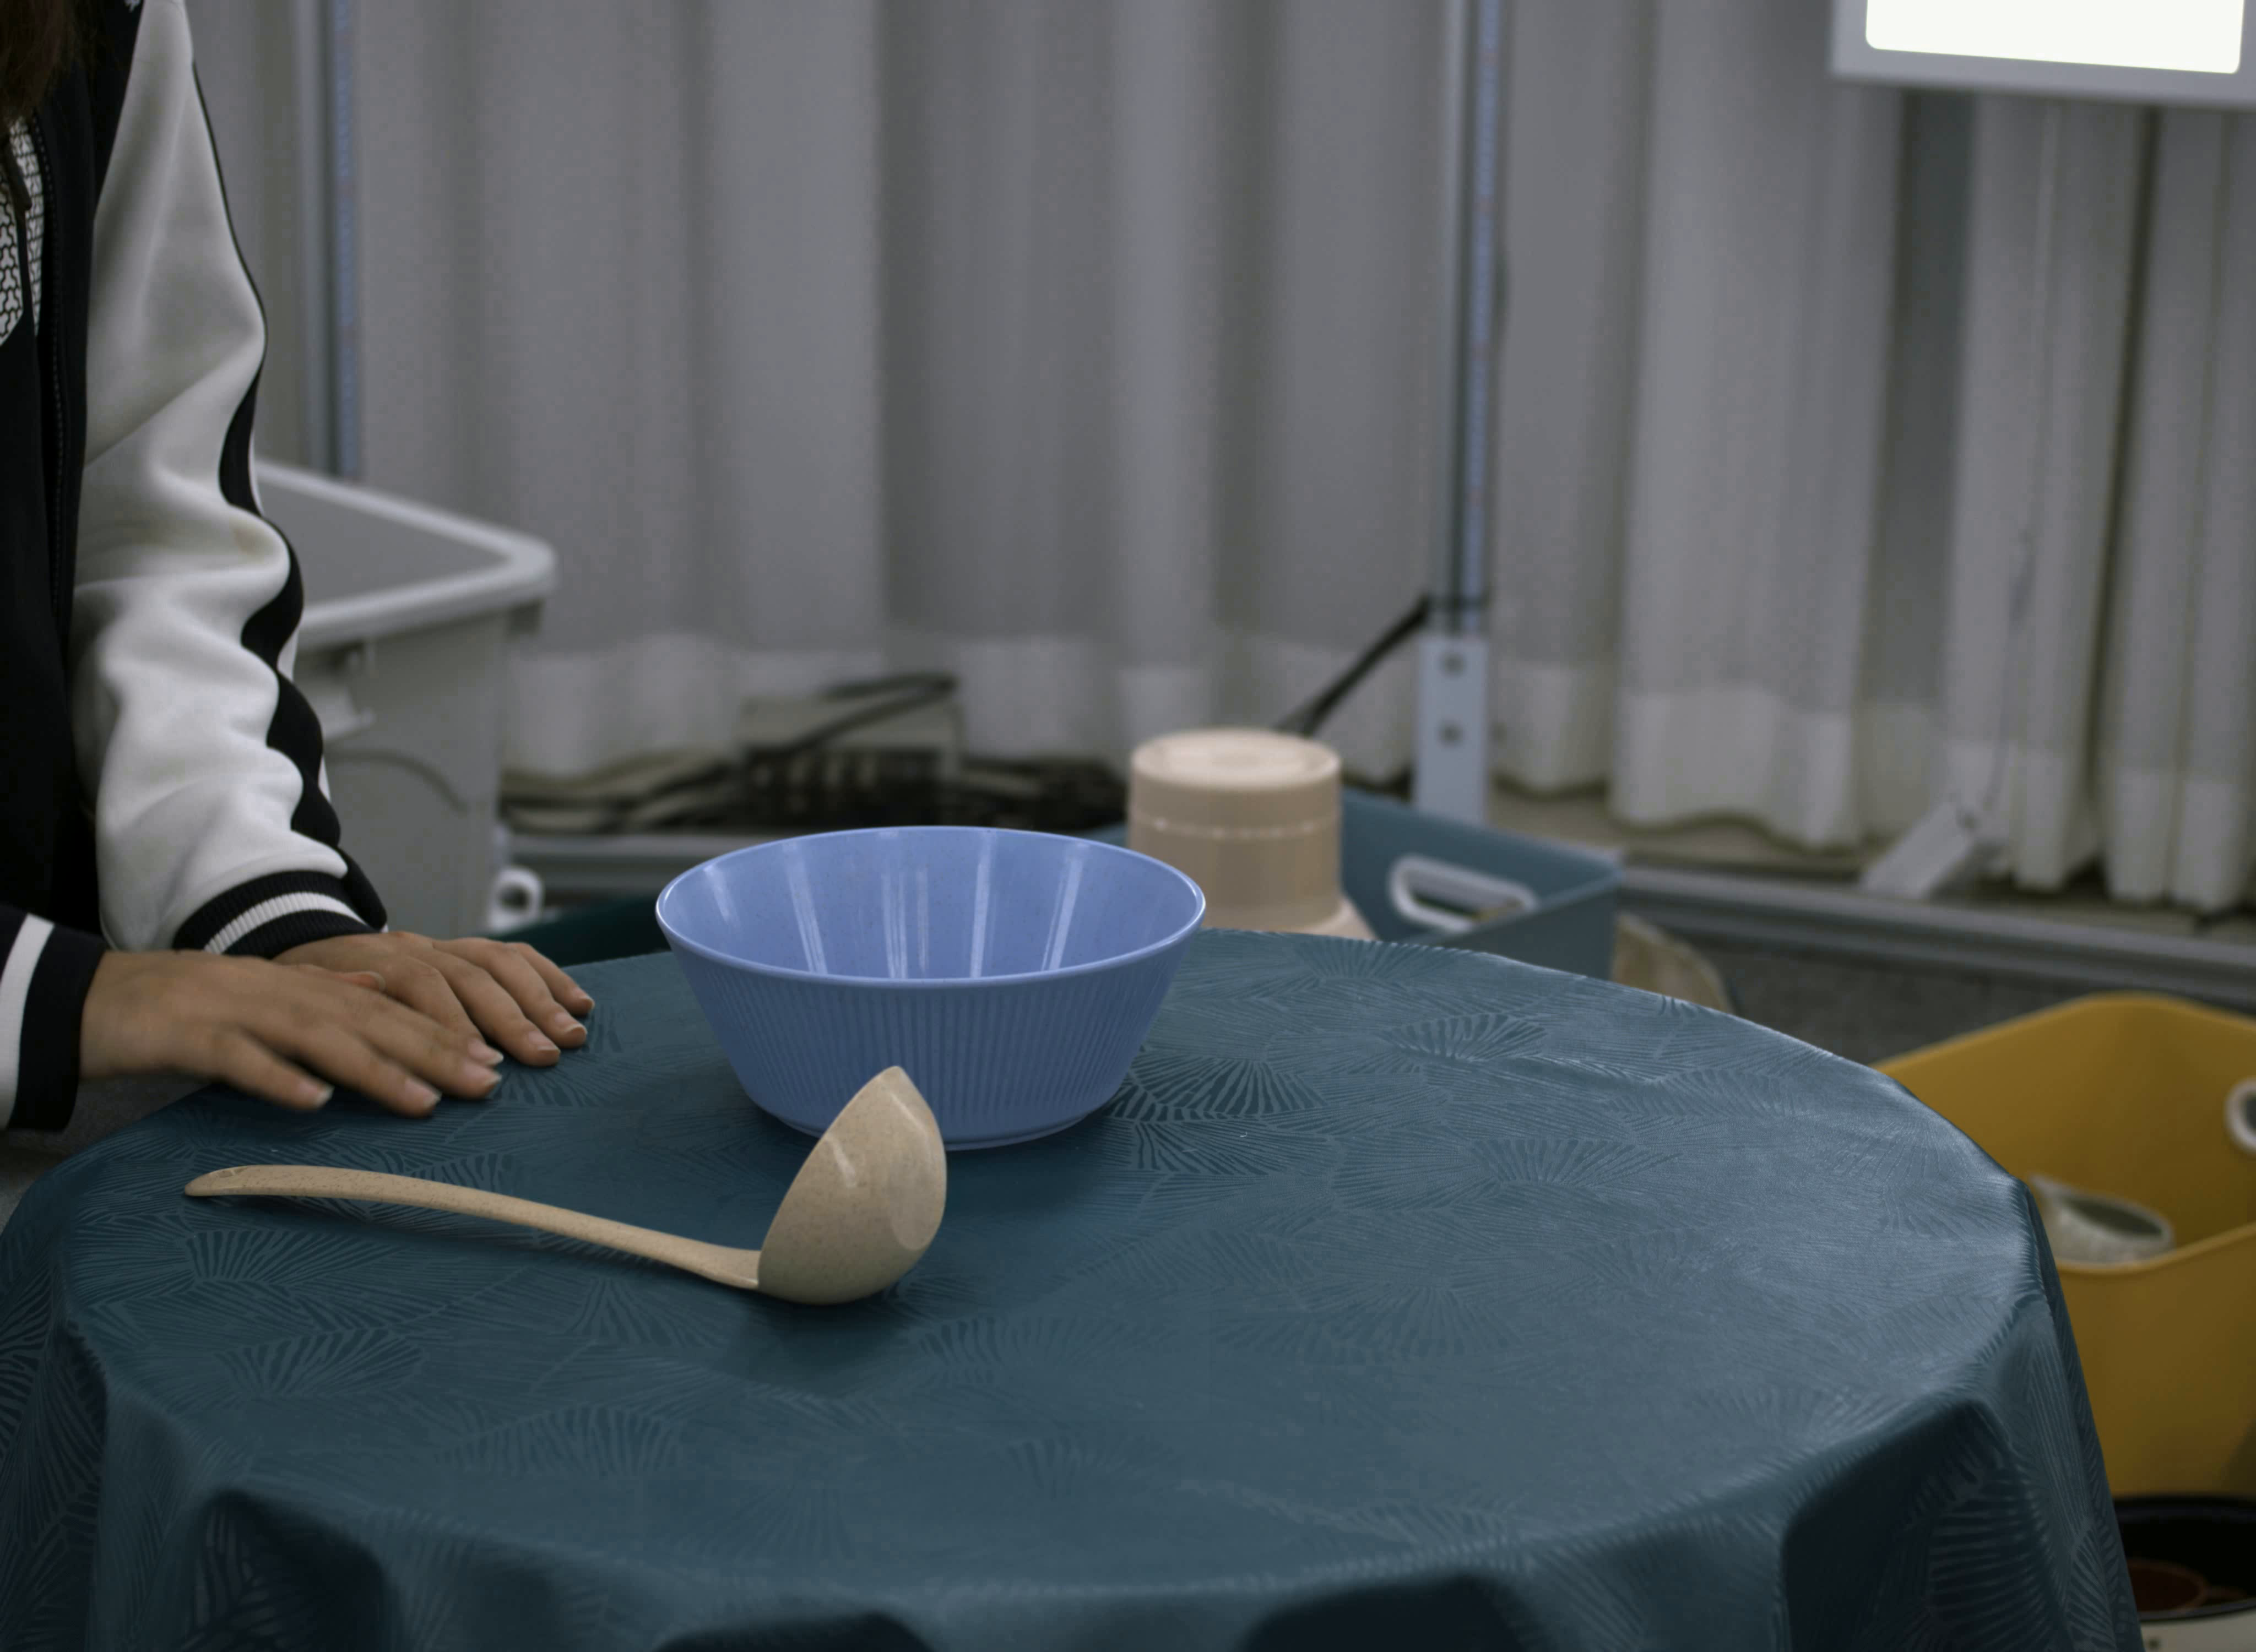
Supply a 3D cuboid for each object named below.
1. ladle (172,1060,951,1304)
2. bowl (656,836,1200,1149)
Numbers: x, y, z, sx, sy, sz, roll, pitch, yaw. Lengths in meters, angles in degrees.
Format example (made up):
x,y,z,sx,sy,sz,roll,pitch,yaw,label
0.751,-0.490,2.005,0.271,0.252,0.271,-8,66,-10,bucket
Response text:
x,y,z,sx,sy,sz,roll,pitch,yaw,label
-0.174,0.092,1.551,0.252,0.073,0.072,6,20,20,ladle
-0.064,0.055,1.693,0.175,0.071,0.175,1,15,0,bowl
